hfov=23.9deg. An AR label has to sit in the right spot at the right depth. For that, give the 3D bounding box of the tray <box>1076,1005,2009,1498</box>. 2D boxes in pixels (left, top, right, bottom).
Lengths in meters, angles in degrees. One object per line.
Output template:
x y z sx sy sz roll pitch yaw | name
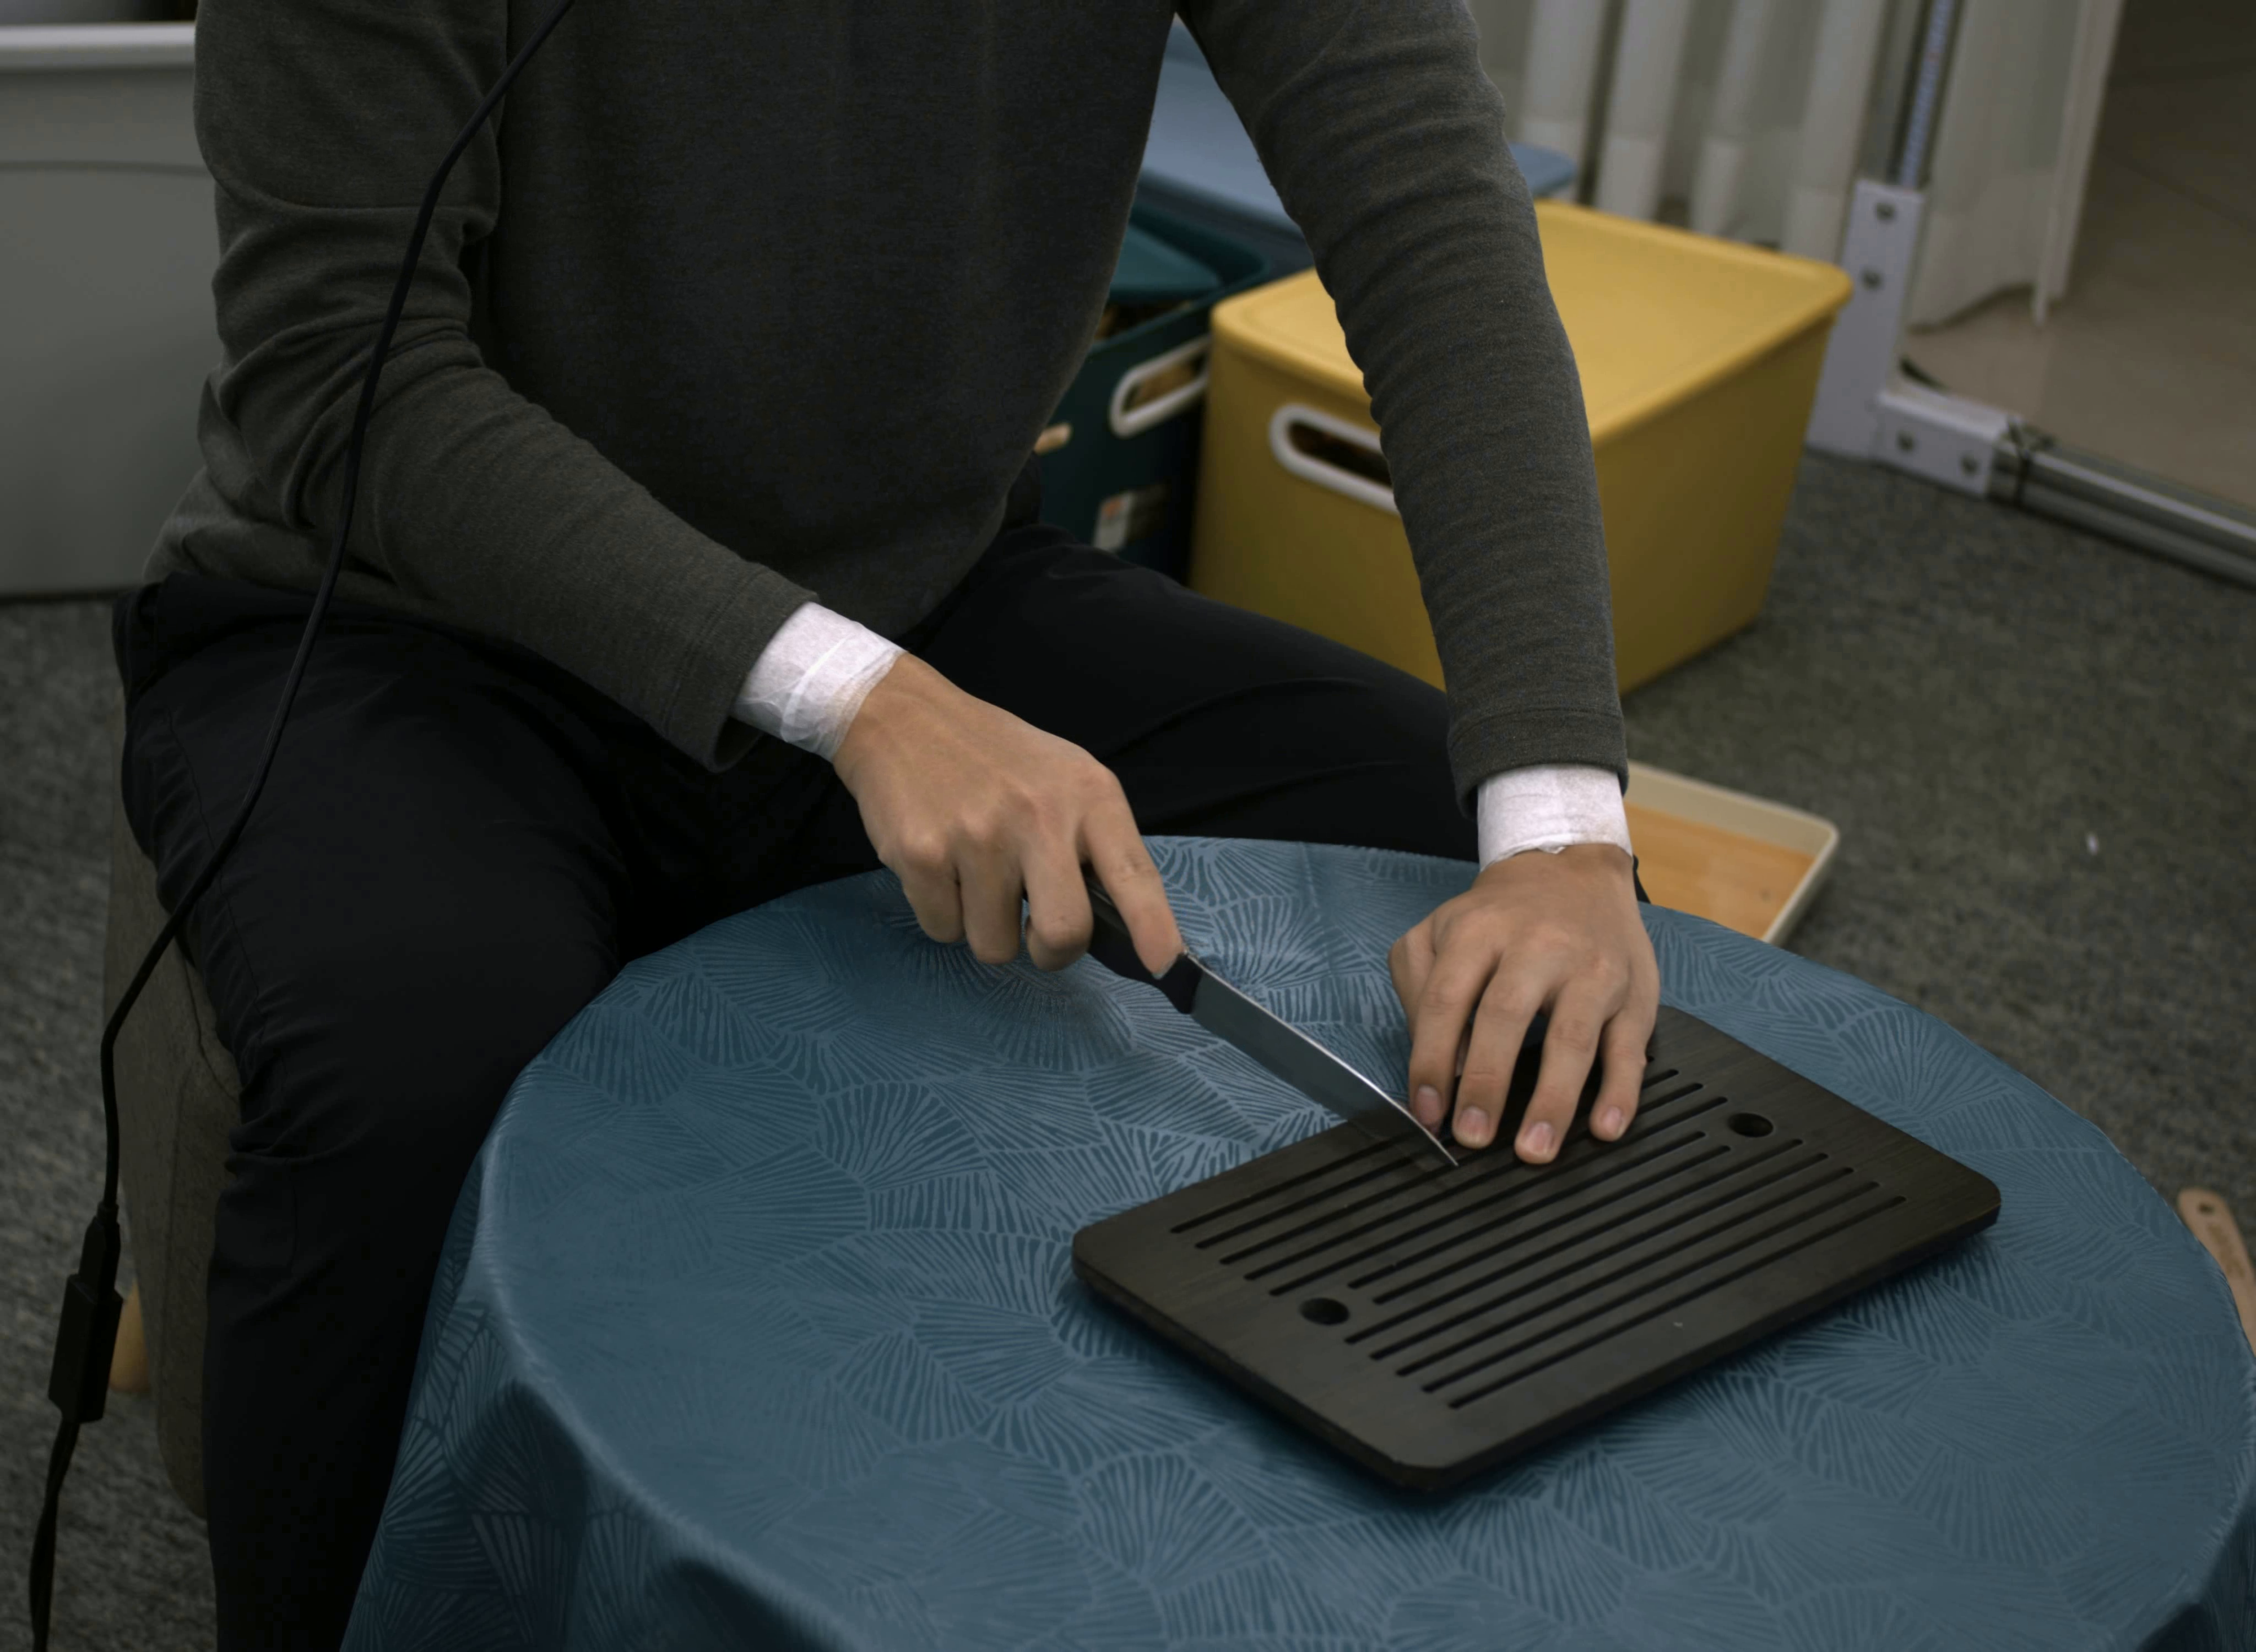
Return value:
0.142 0.139 1.787 0.304 0.018 0.171 -19 35 -40 | tray

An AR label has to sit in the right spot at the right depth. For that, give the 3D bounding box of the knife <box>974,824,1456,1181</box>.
0.030 0.060 1.864 0.240 0.024 0.016 35 29 34 | knife
